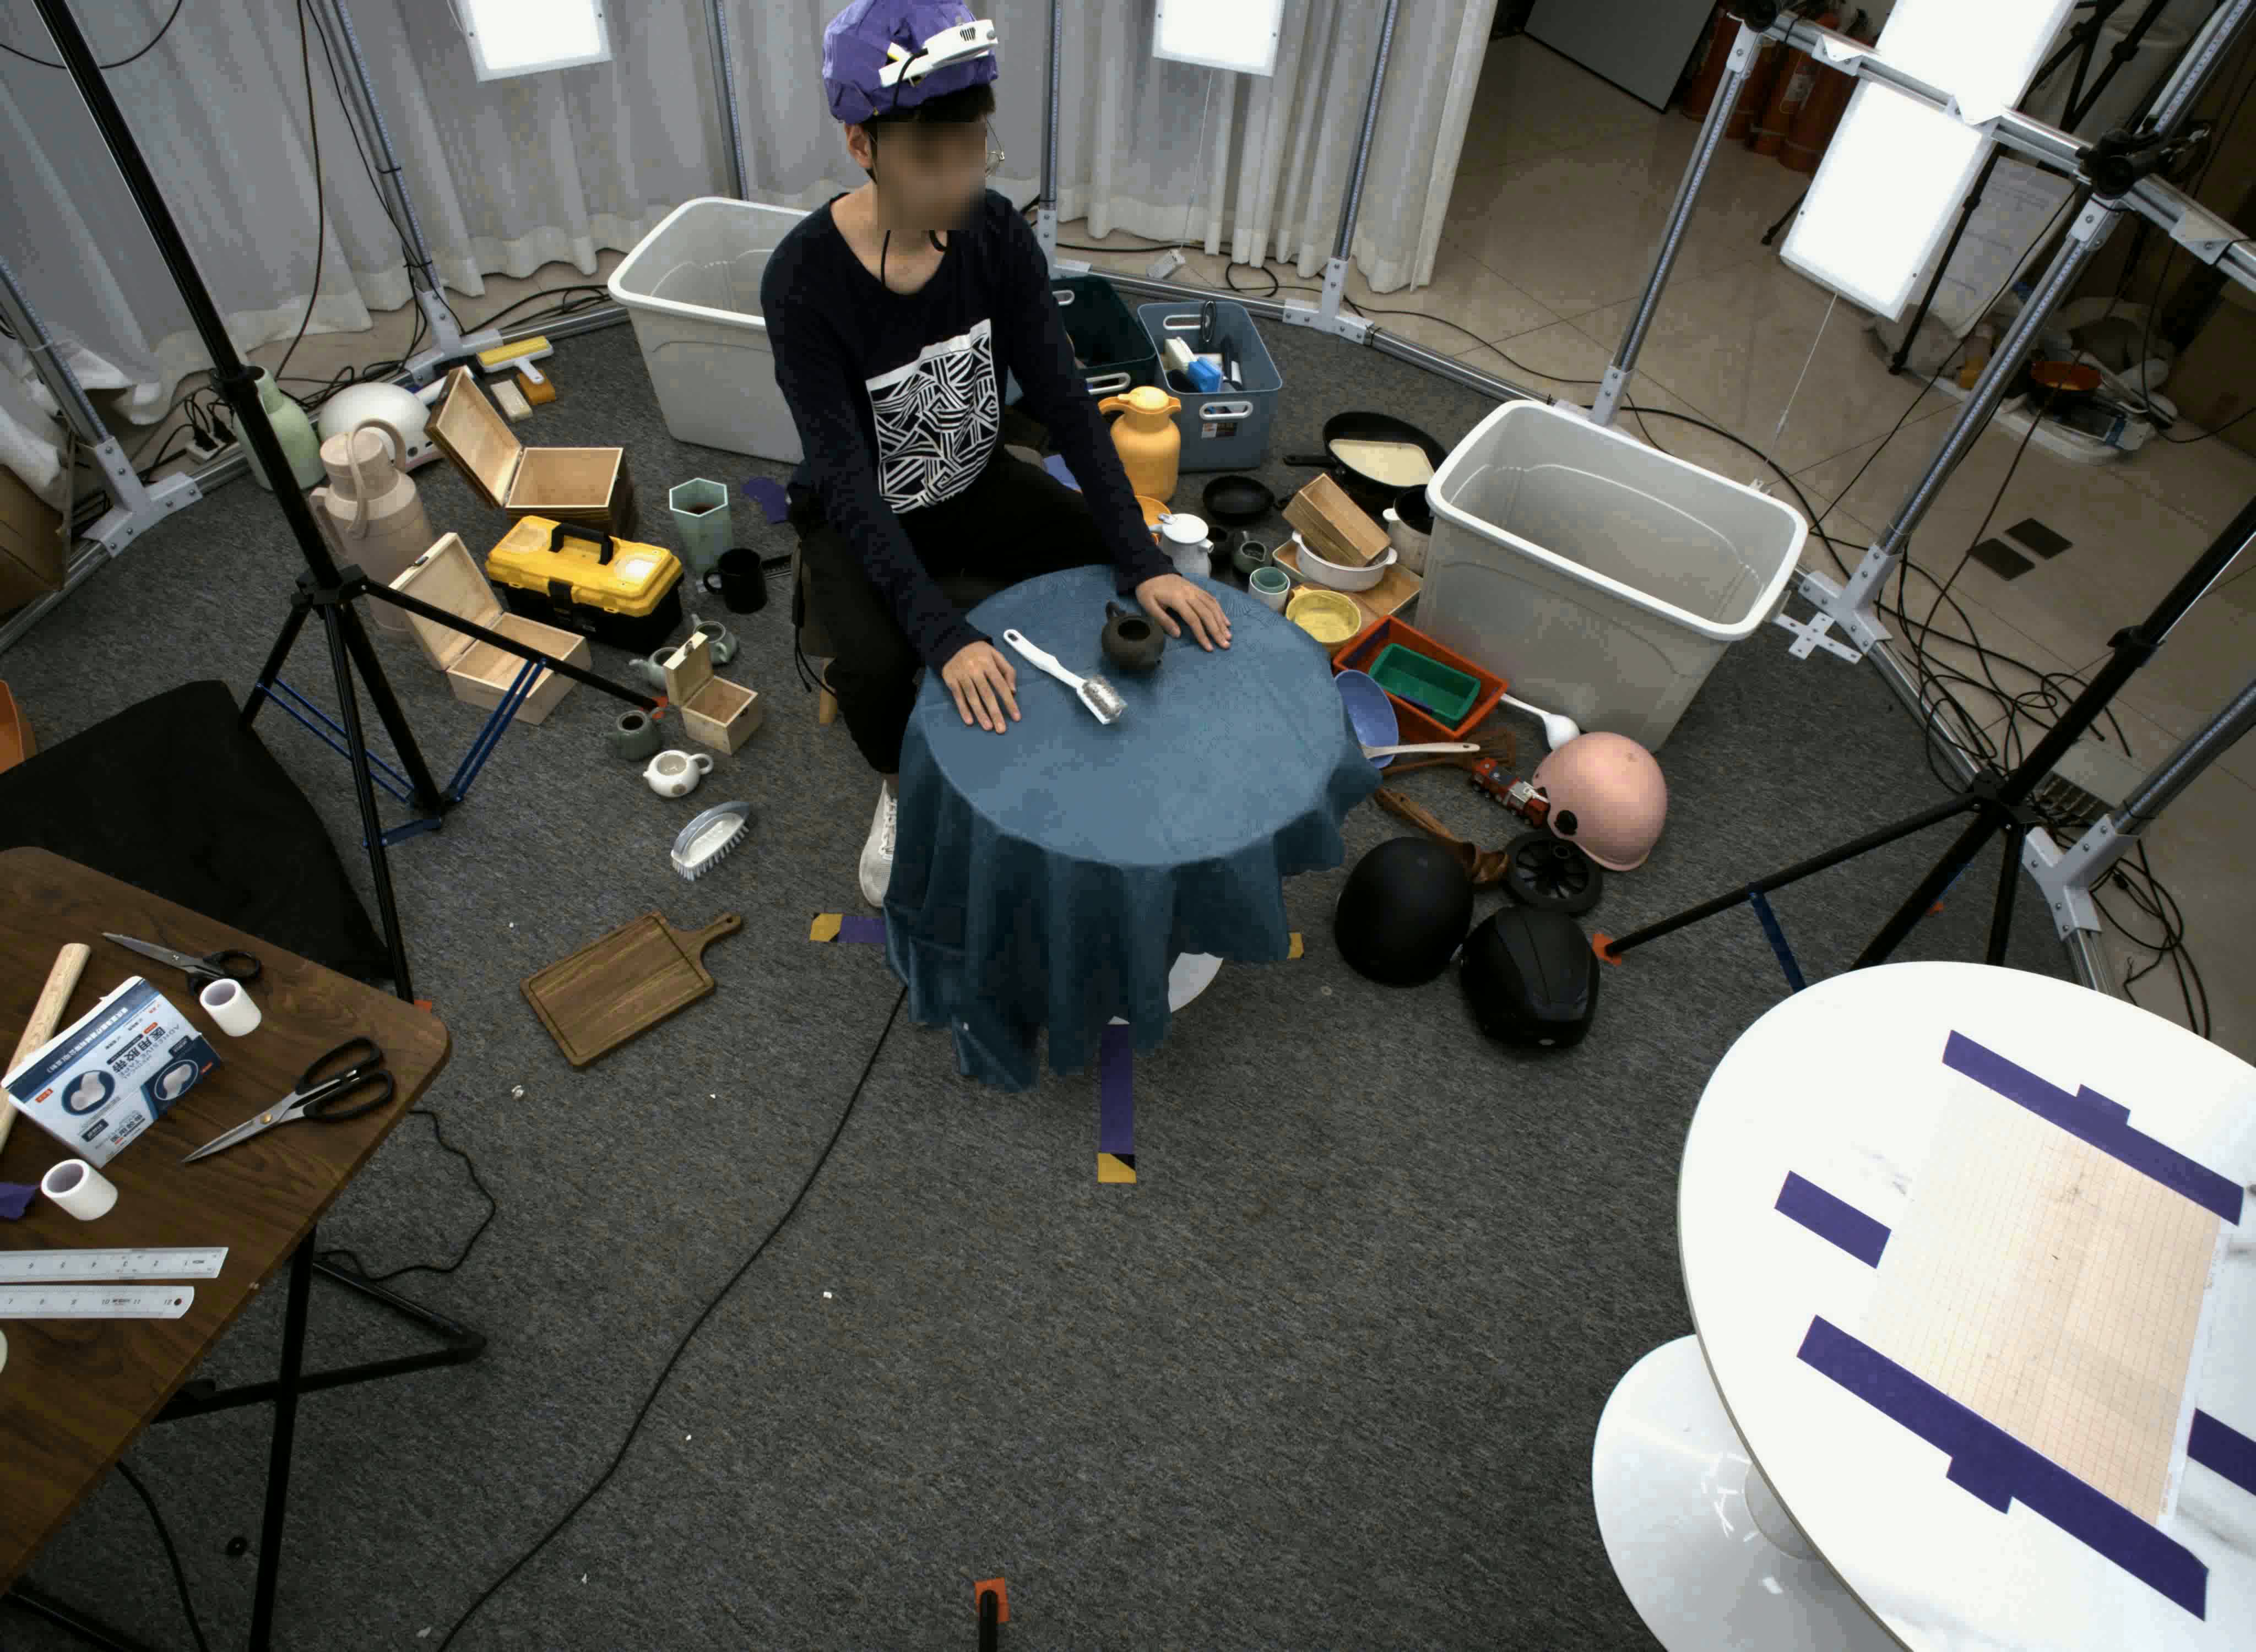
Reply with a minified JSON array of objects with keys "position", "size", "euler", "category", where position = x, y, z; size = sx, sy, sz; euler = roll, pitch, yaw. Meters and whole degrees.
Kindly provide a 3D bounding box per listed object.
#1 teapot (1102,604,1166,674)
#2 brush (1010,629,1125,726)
[{"position":[0.007,-0.267,1.862],"size":[0.092,0.063,0.158],"euler":[-20,52,-18],"category":"teapot"},{"position":[-0.091,-0.226,1.829],"size":[0.034,0.049,0.248],"euler":[-33,58,-22],"category":"brush"}]
